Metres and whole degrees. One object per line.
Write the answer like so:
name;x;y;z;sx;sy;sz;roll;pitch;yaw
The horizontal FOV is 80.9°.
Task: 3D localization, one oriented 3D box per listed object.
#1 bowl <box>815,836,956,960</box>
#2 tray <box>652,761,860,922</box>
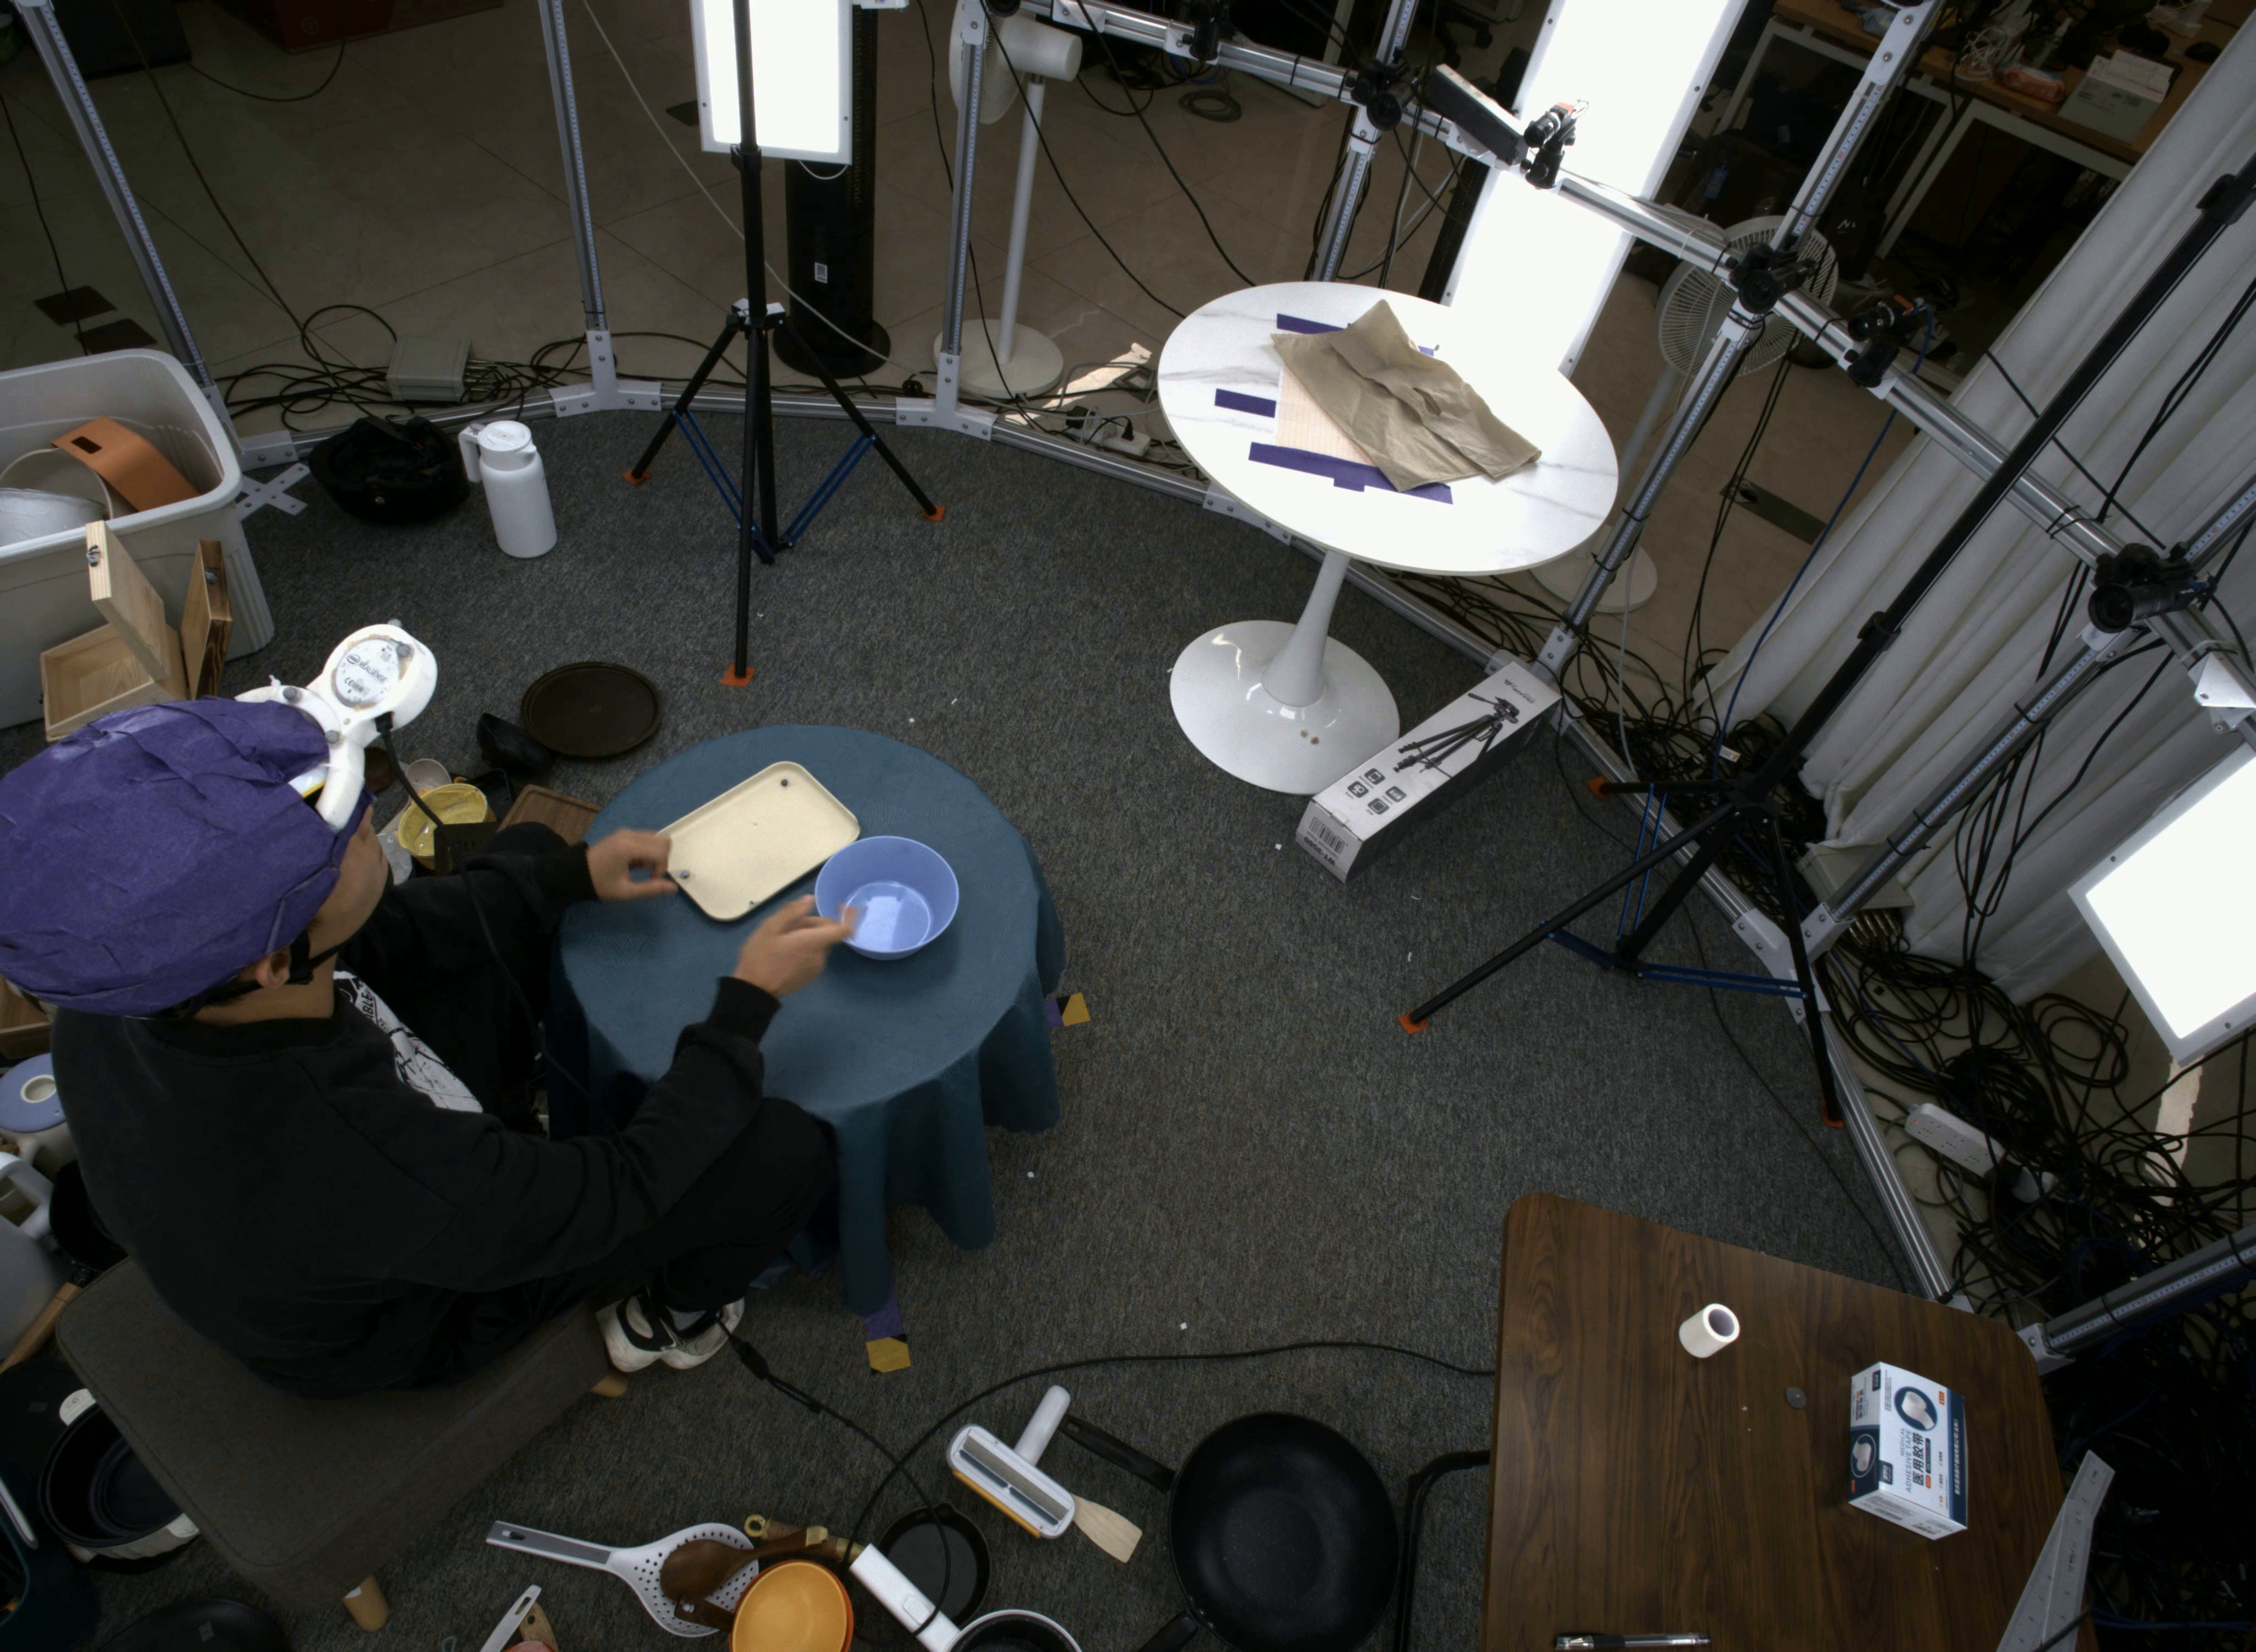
bowl;-0.305;0.100;1.639;0.176;0.072;0.173;8;51;-9
tray;-0.484;0.017;1.690;0.167;0.018;0.240;41;55;17
